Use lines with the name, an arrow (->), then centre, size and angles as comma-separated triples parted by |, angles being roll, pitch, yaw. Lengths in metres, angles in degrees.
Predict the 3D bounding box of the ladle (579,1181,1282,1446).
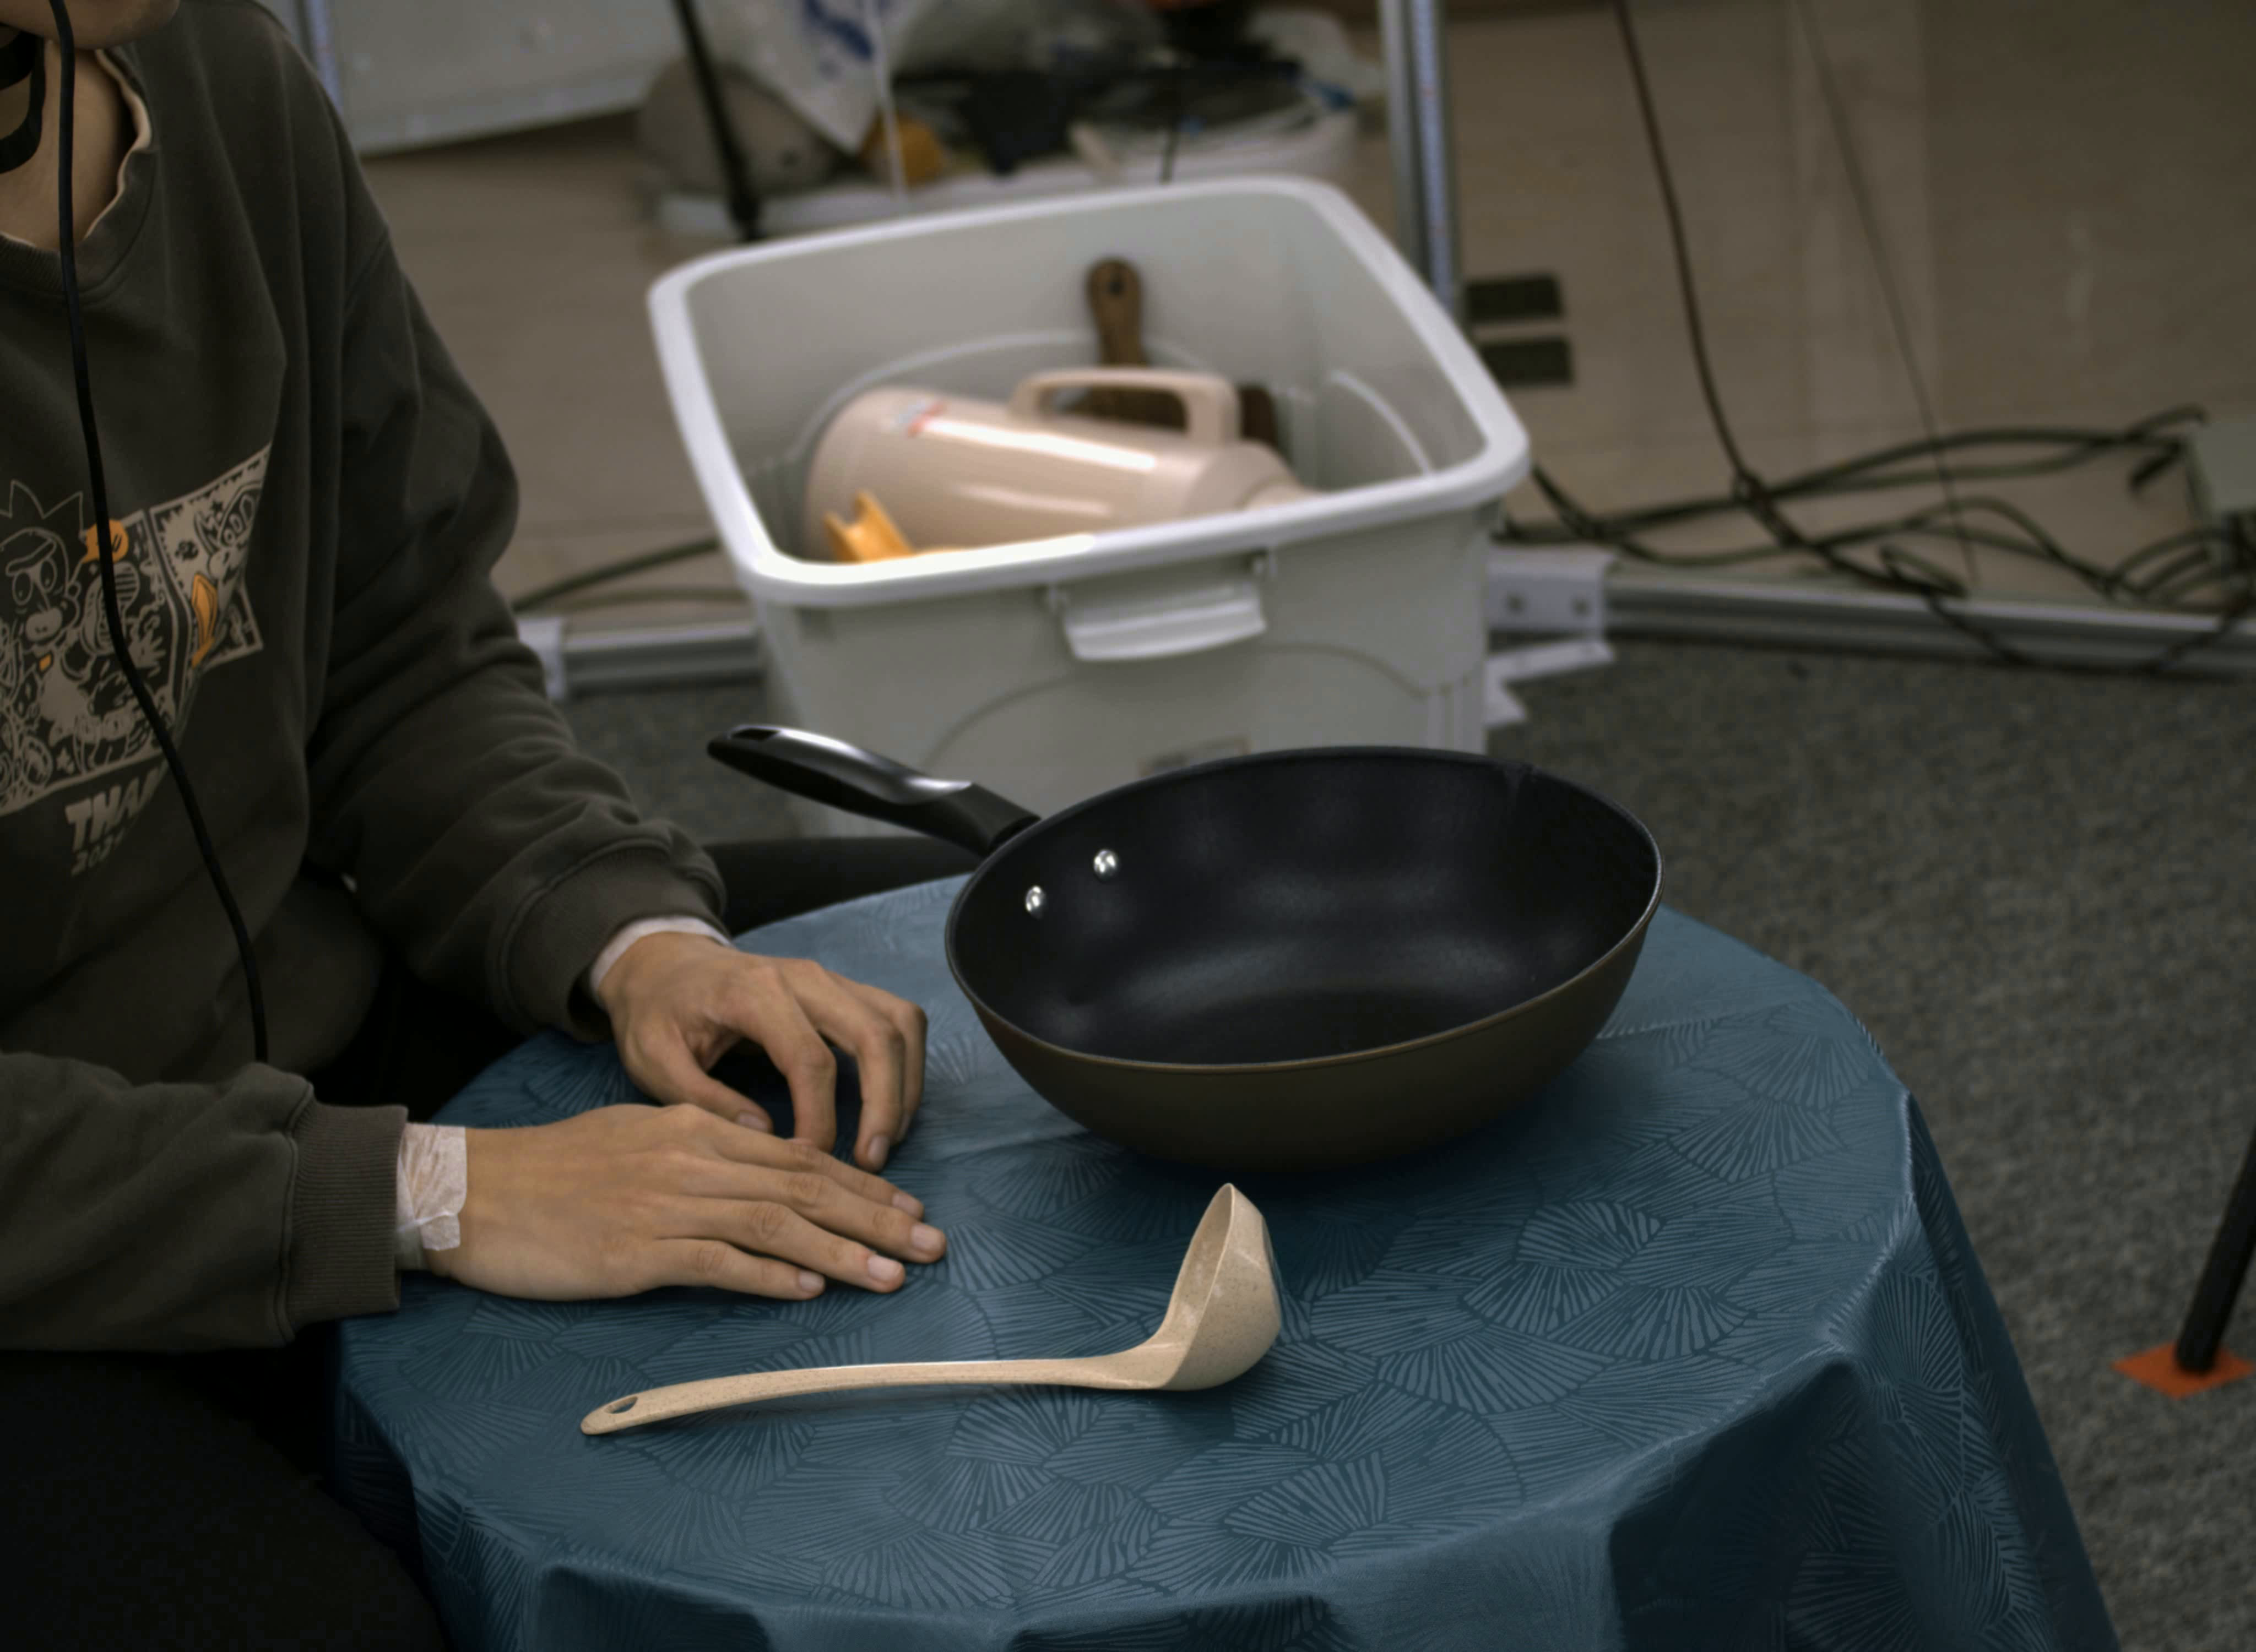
ladle -> -0.073, 0.173, 2.005 | 0.254, 0.074, 0.071 | -6, 31, 0

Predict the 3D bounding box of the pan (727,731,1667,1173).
pan -> 0.004, 0.043, 2.251 | 0.460, 0.088, 0.285 | 15, 33, 41
